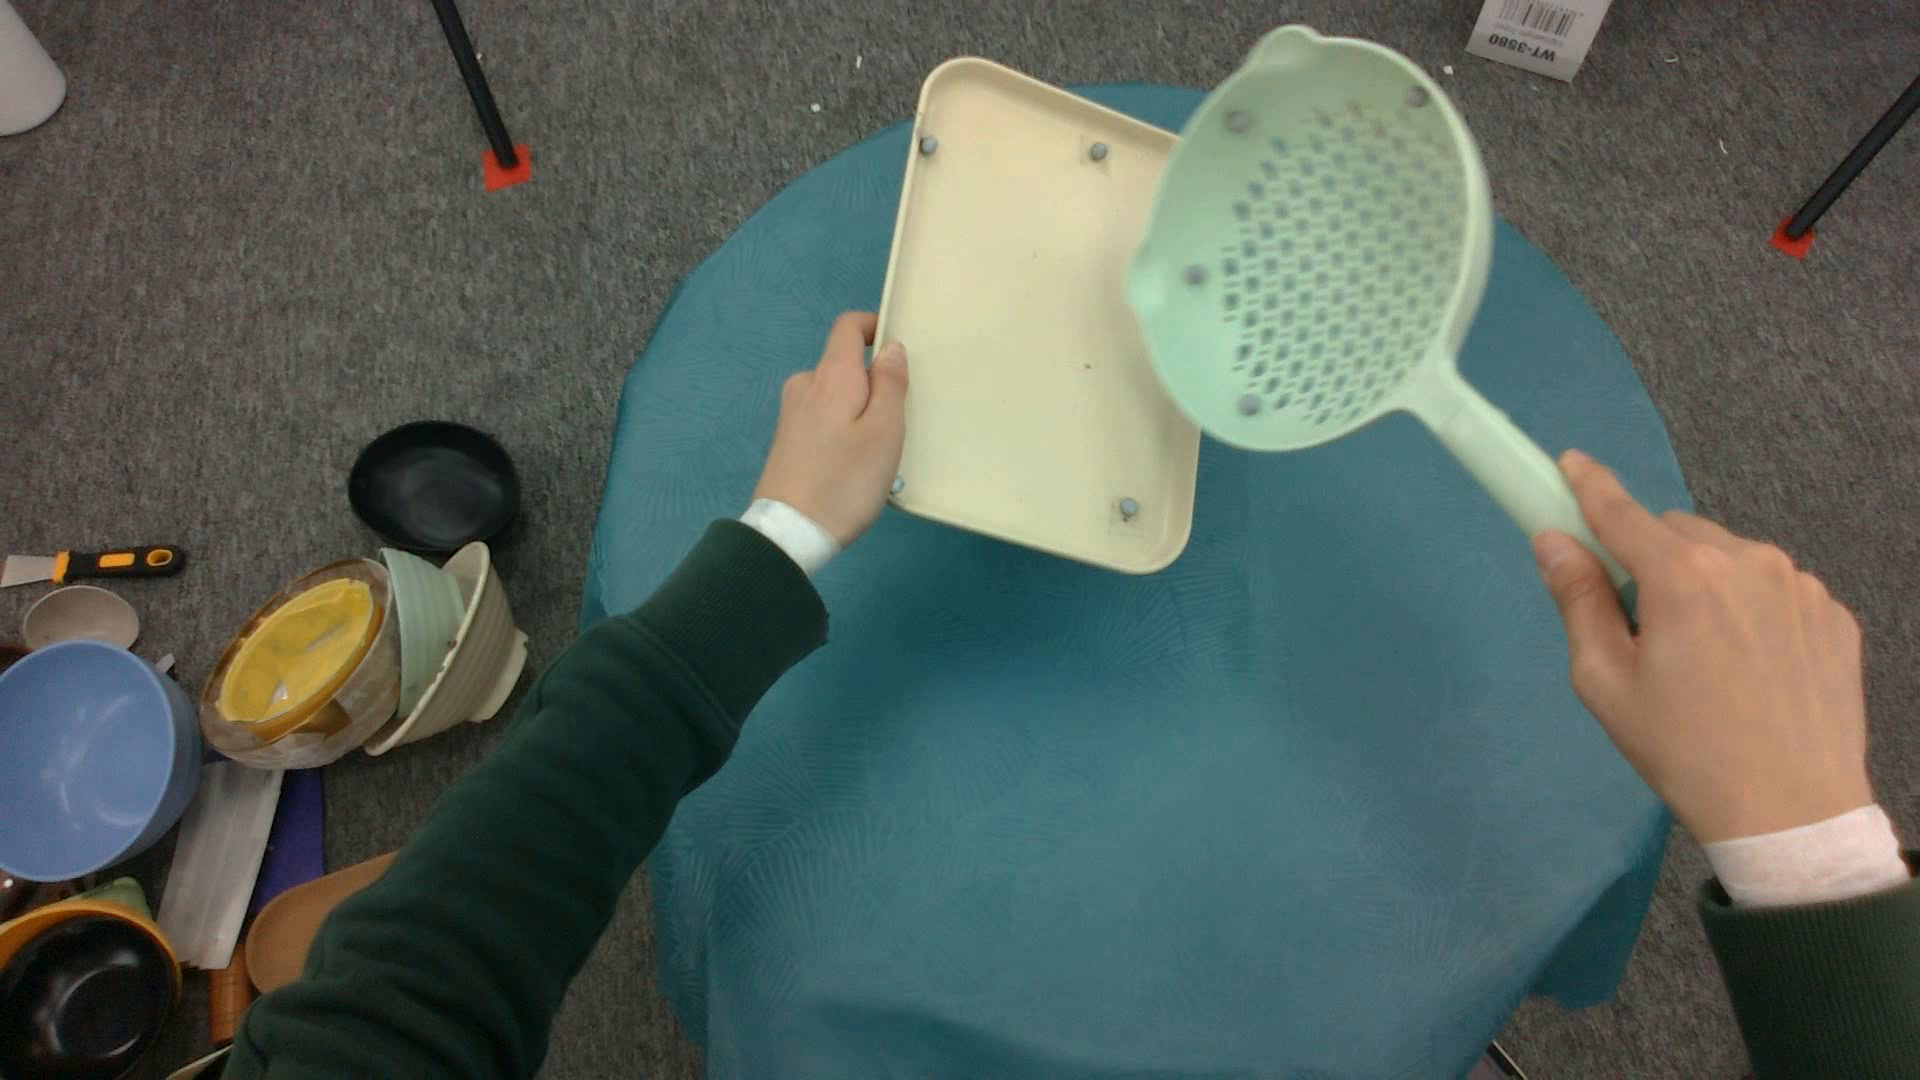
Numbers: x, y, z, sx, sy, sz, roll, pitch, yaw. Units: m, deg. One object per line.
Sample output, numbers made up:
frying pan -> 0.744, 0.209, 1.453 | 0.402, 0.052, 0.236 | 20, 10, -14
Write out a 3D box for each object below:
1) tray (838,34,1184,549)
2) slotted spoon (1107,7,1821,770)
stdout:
tray -> 0.034, -0.121, 0.666 | 0.171, 0.017, 0.240 | 15, 72, -19
slotted spoon -> 0.178, -0.061, 0.521 | 0.075, 0.168, 0.360 | 10, 39, -32
